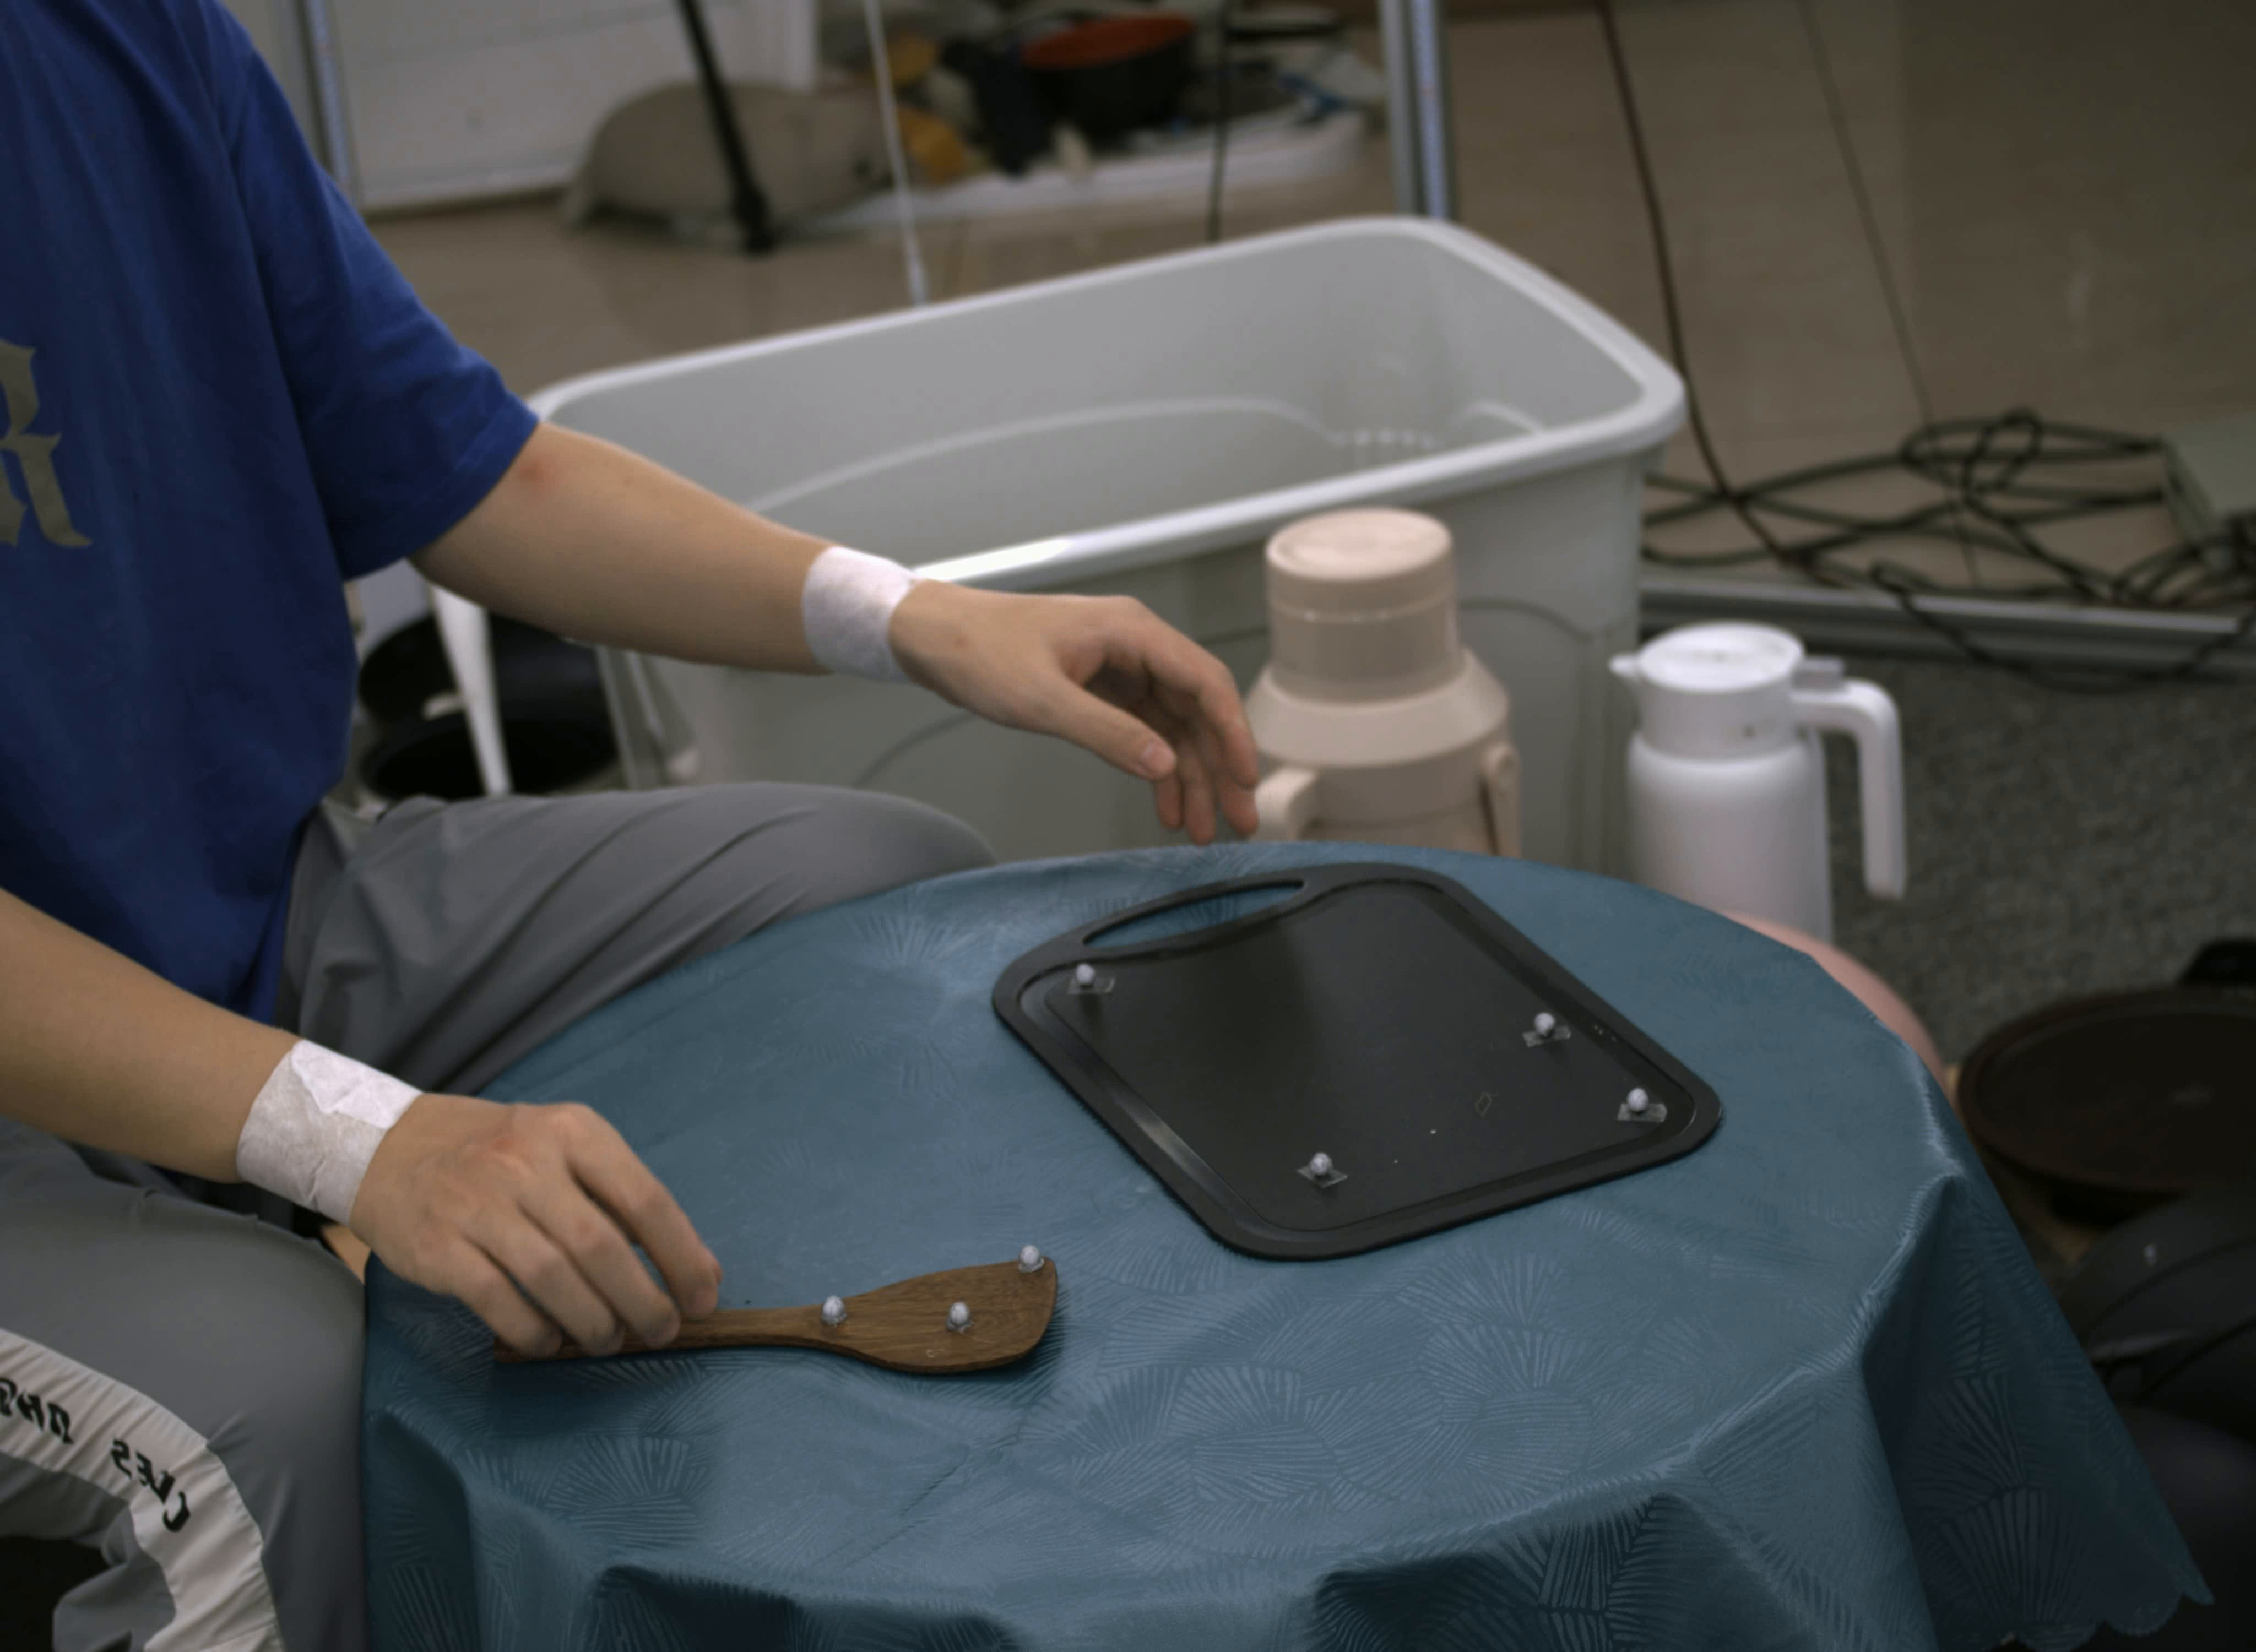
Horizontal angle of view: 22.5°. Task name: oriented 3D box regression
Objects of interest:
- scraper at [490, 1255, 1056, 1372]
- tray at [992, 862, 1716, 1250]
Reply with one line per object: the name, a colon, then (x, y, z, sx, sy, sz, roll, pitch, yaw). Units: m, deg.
scraper: (-0.130, 0.183, 2.075, 0.211, 0.011, 0.075, -4, 24, 9)
tray: (0.079, 0.083, 2.239, 0.210, 0.010, 0.321, -15, 26, -18)
